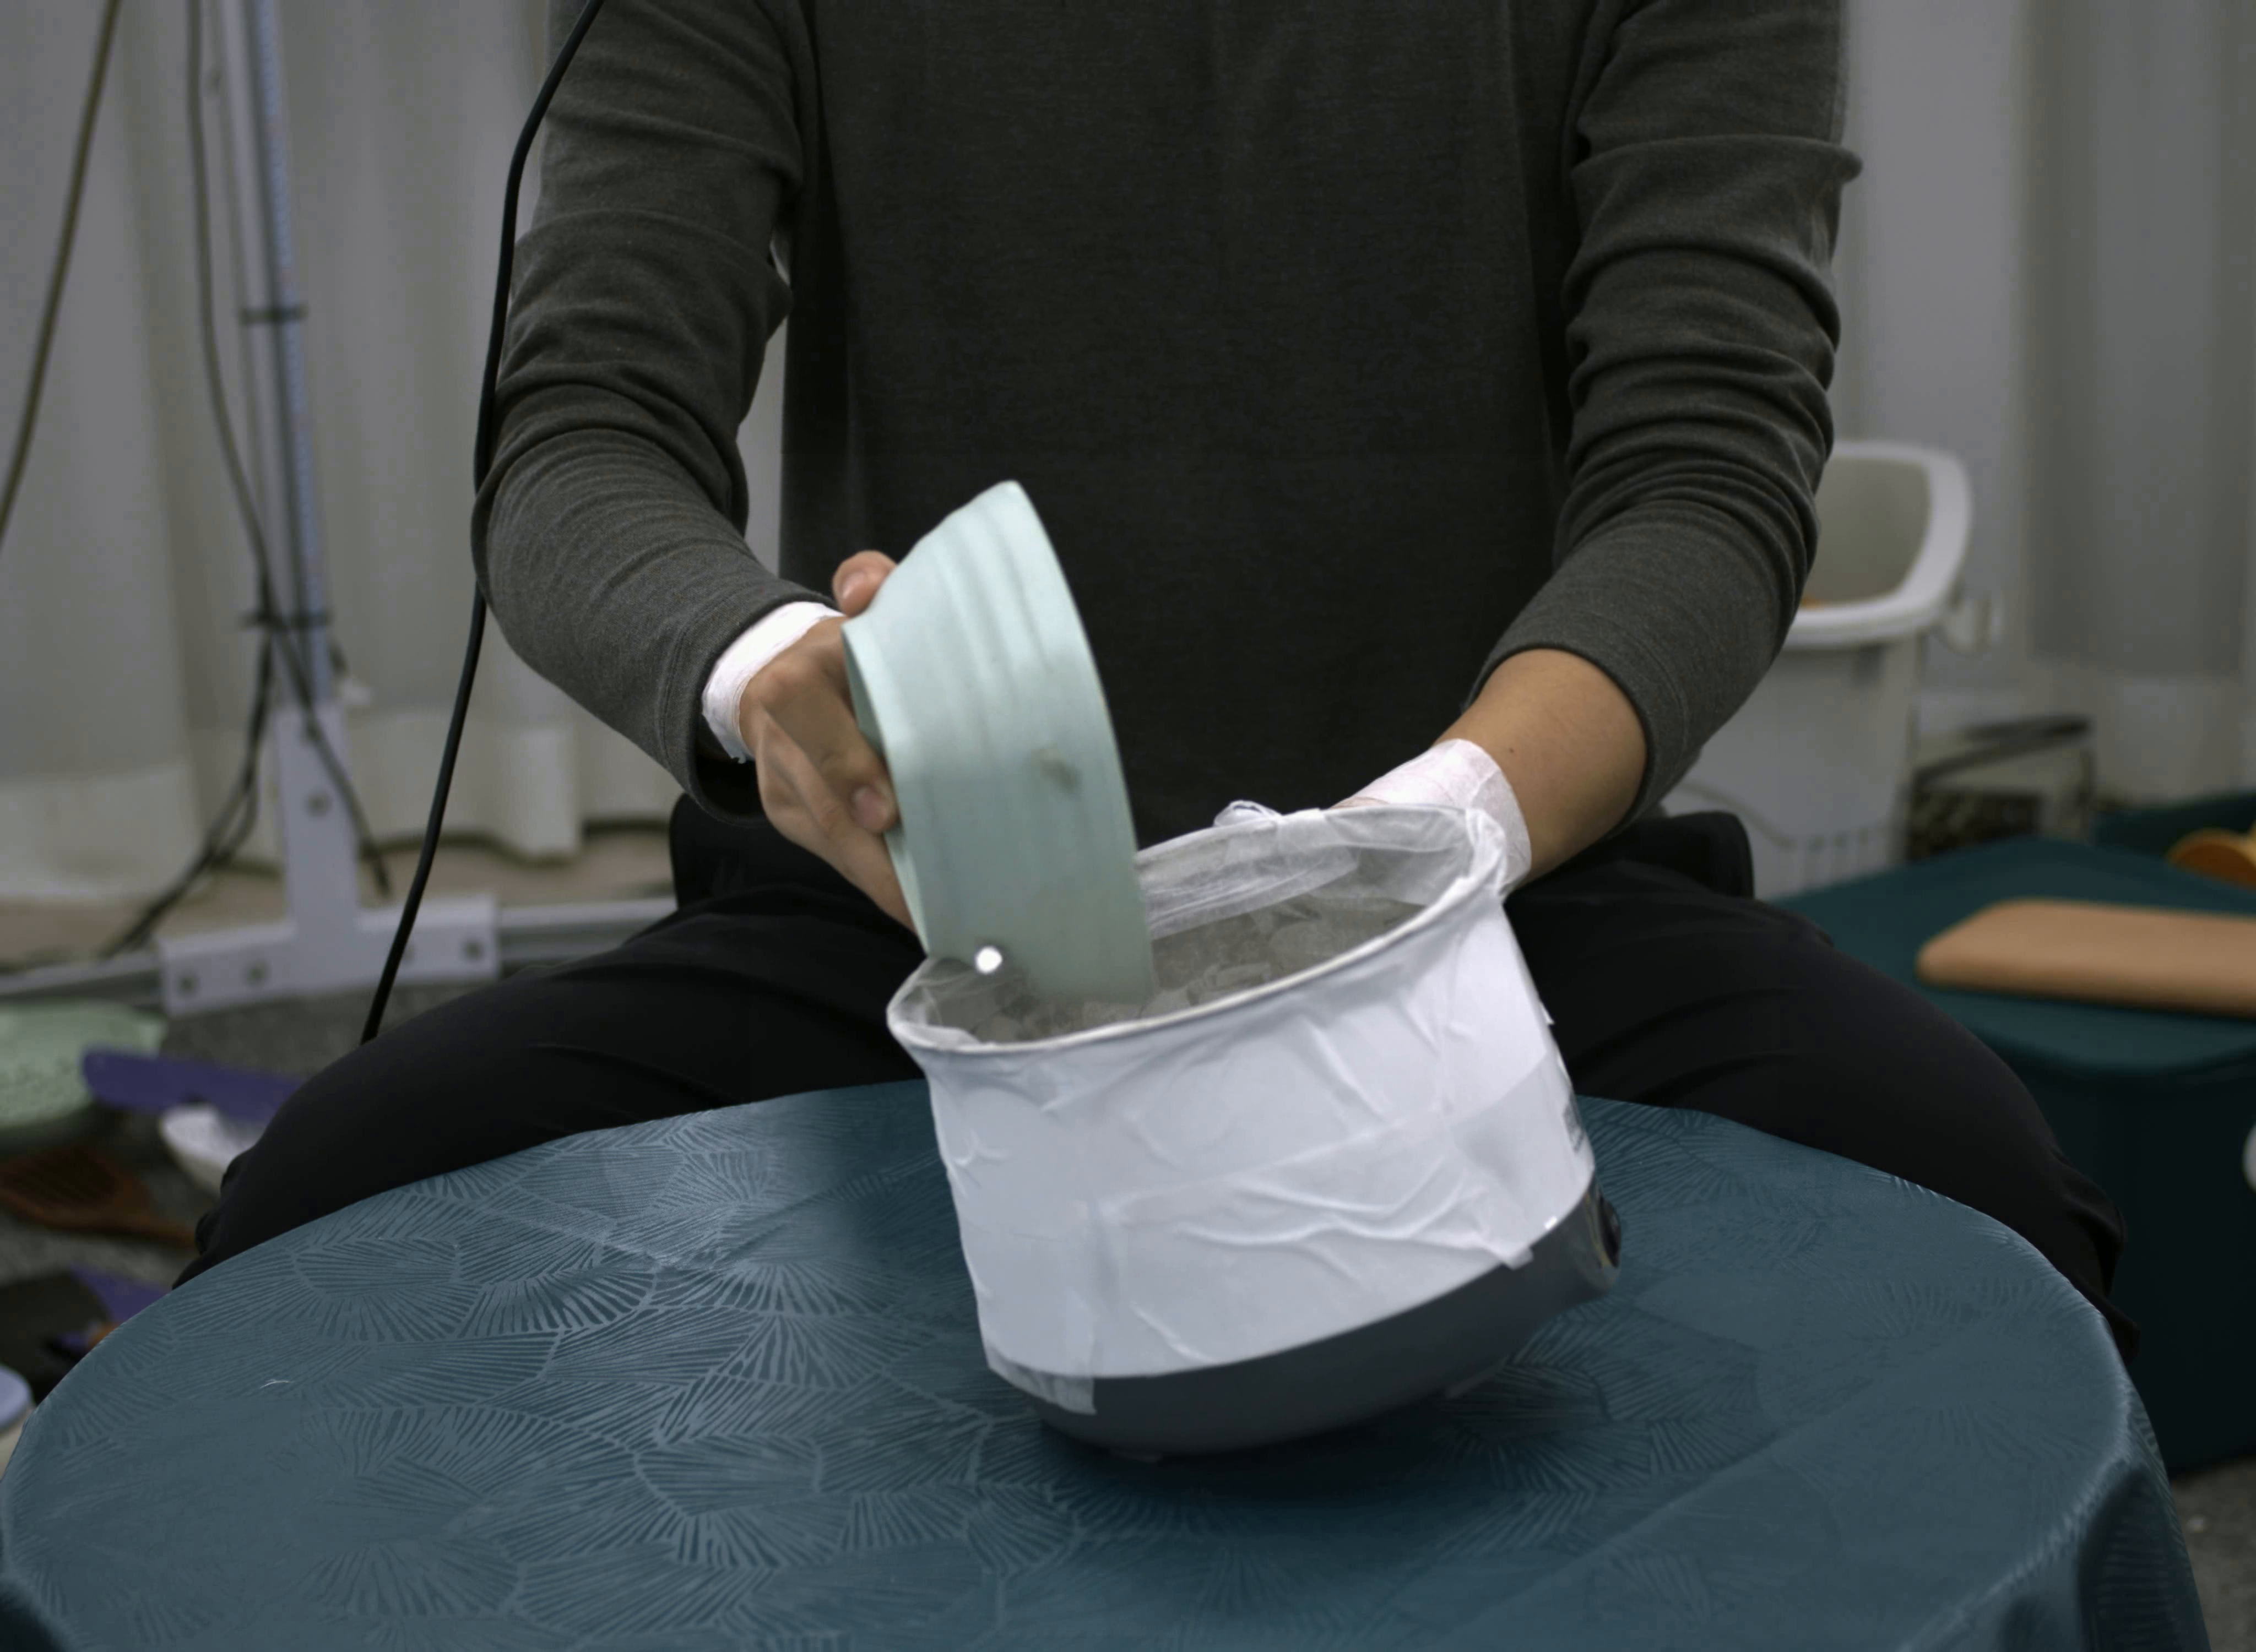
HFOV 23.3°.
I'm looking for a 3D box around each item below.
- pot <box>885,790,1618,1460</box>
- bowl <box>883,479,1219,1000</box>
[{"bbox_3d":[0.039,0.075,1.538,0.178,0.136,0.235,-14,15,12],"label":"pot"},{"bbox_3d":[-0.026,-0.017,1.524,0.058,0.151,0.152,-19,11,11],"label":"bowl"}]
